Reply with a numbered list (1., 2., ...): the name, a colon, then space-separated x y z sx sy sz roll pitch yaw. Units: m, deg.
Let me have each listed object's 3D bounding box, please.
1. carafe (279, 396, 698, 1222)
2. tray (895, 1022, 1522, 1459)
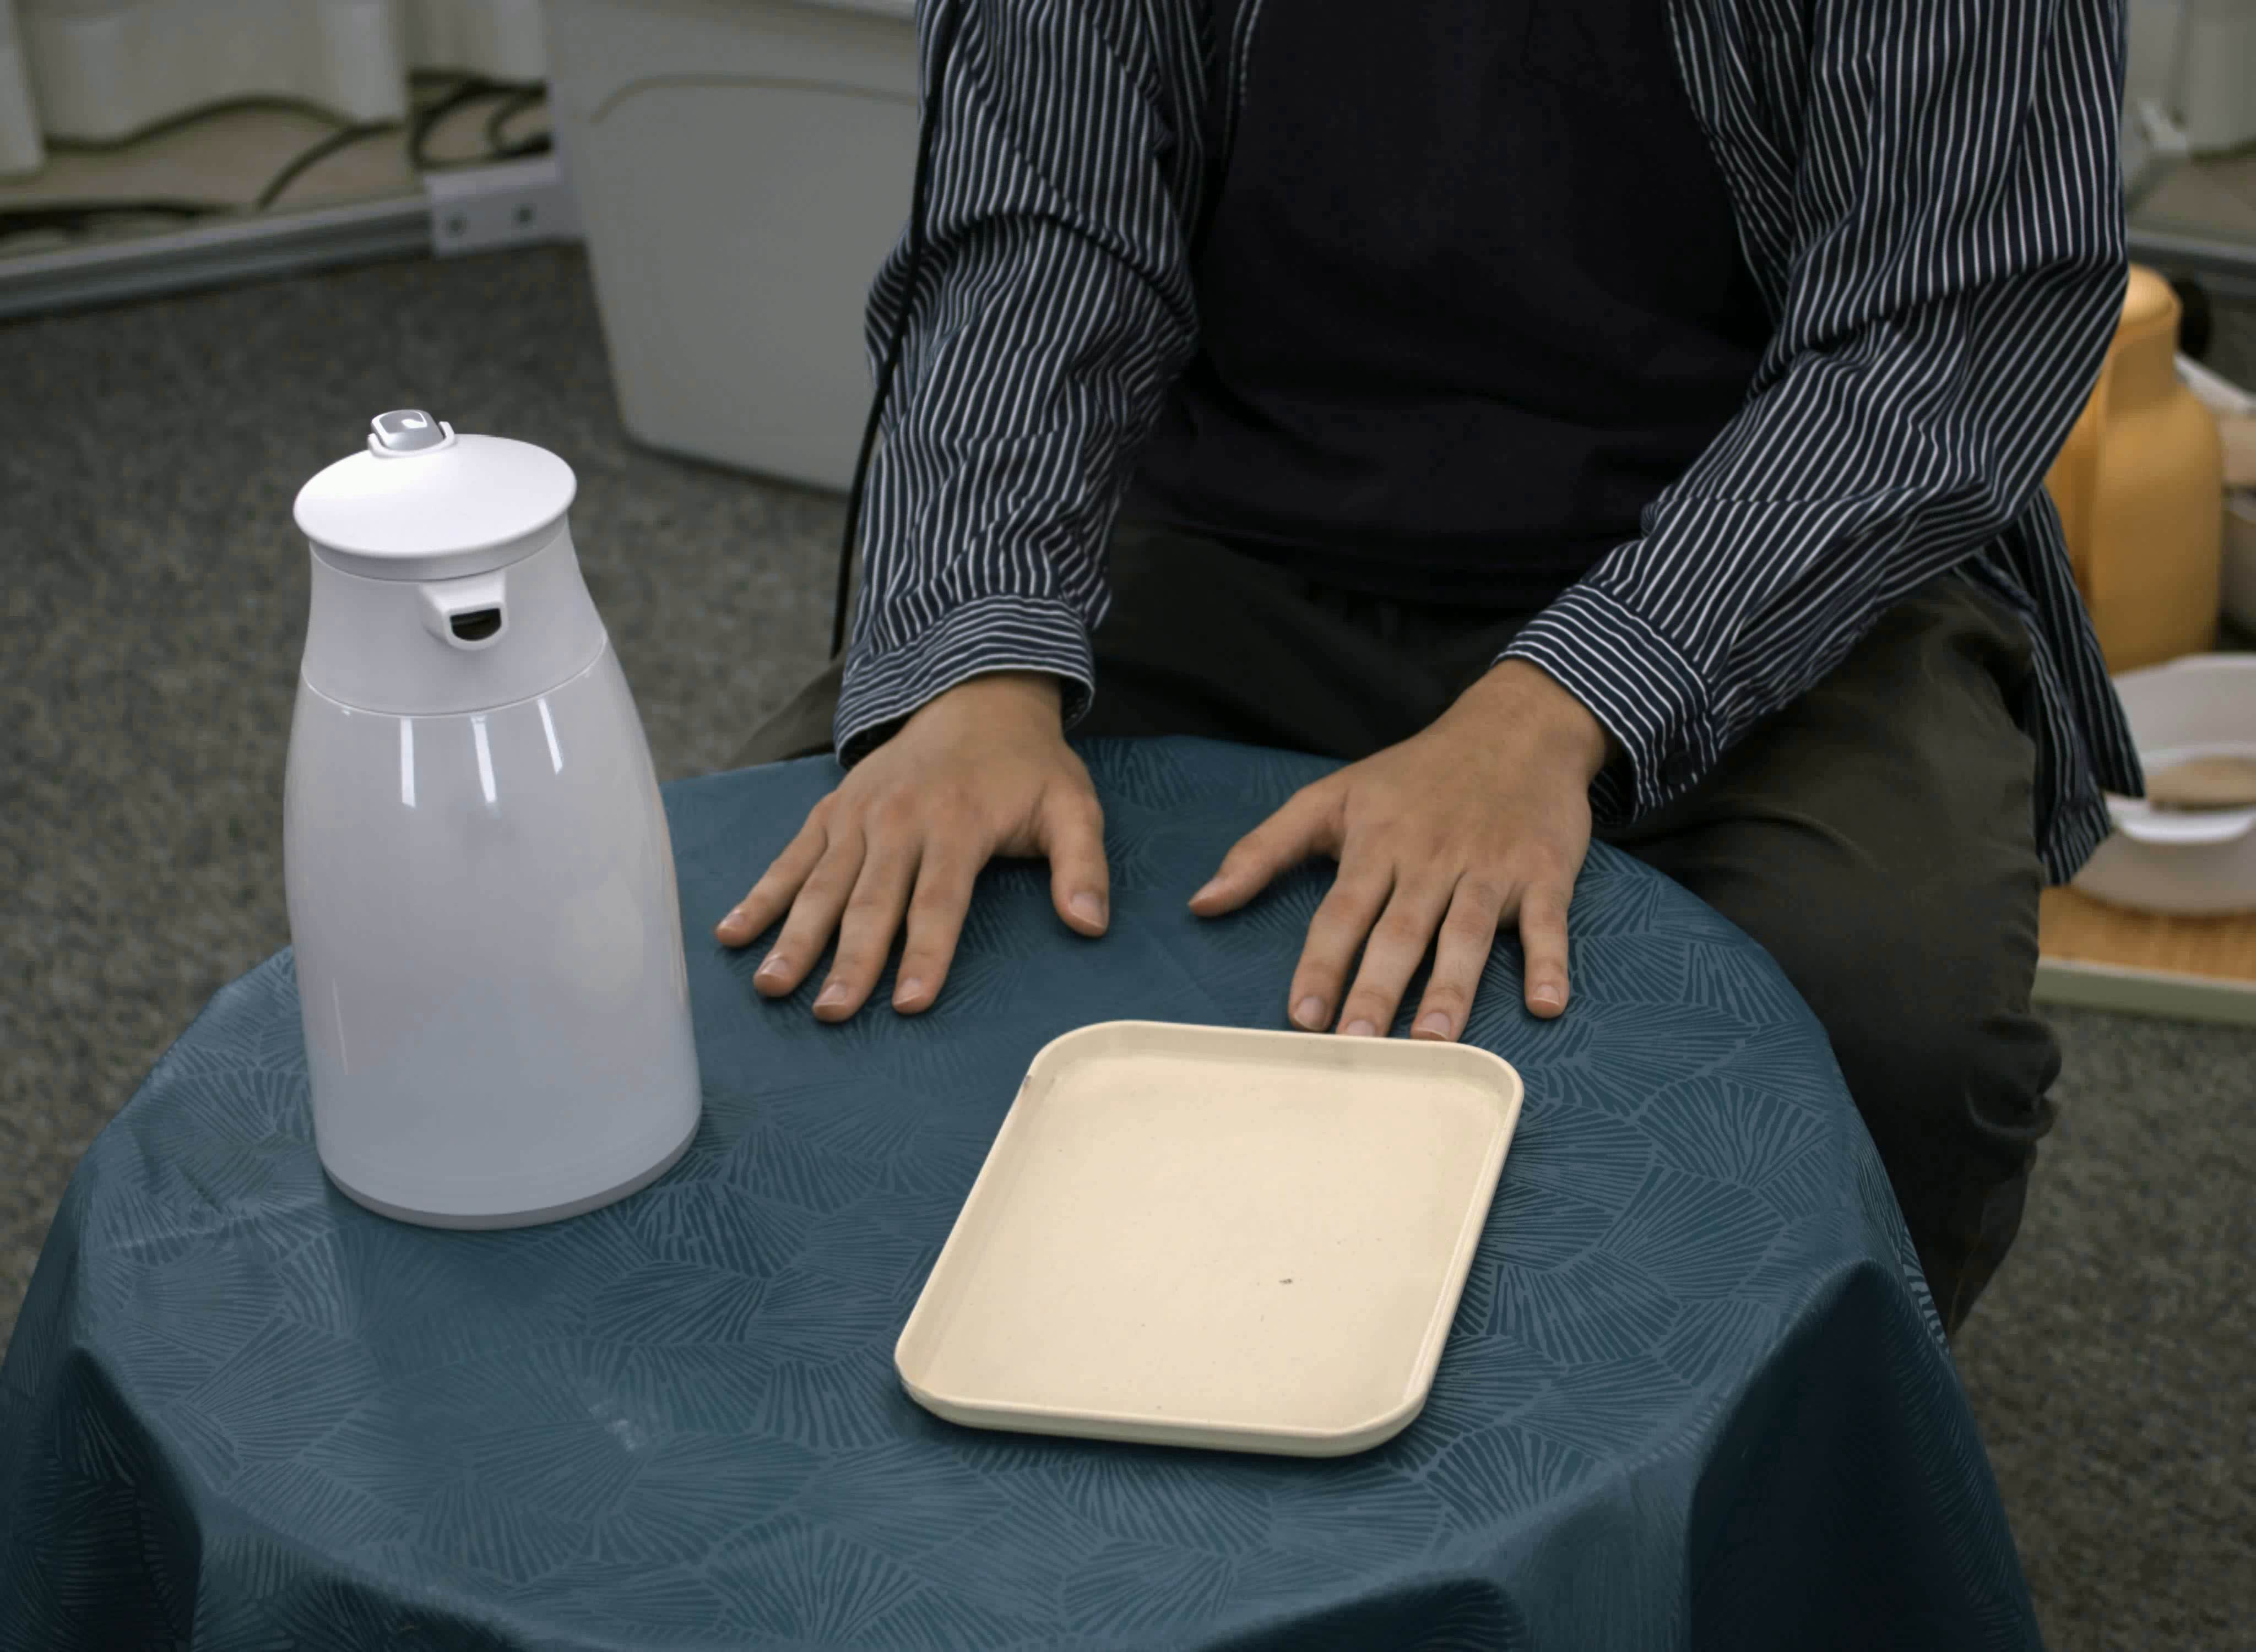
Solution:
1. carafe: -0.226 -0.015 1.873 0.133 0.246 0.169 -13 27 -18
2. tray: 0.029 0.132 1.813 0.170 0.017 0.244 4 28 12
